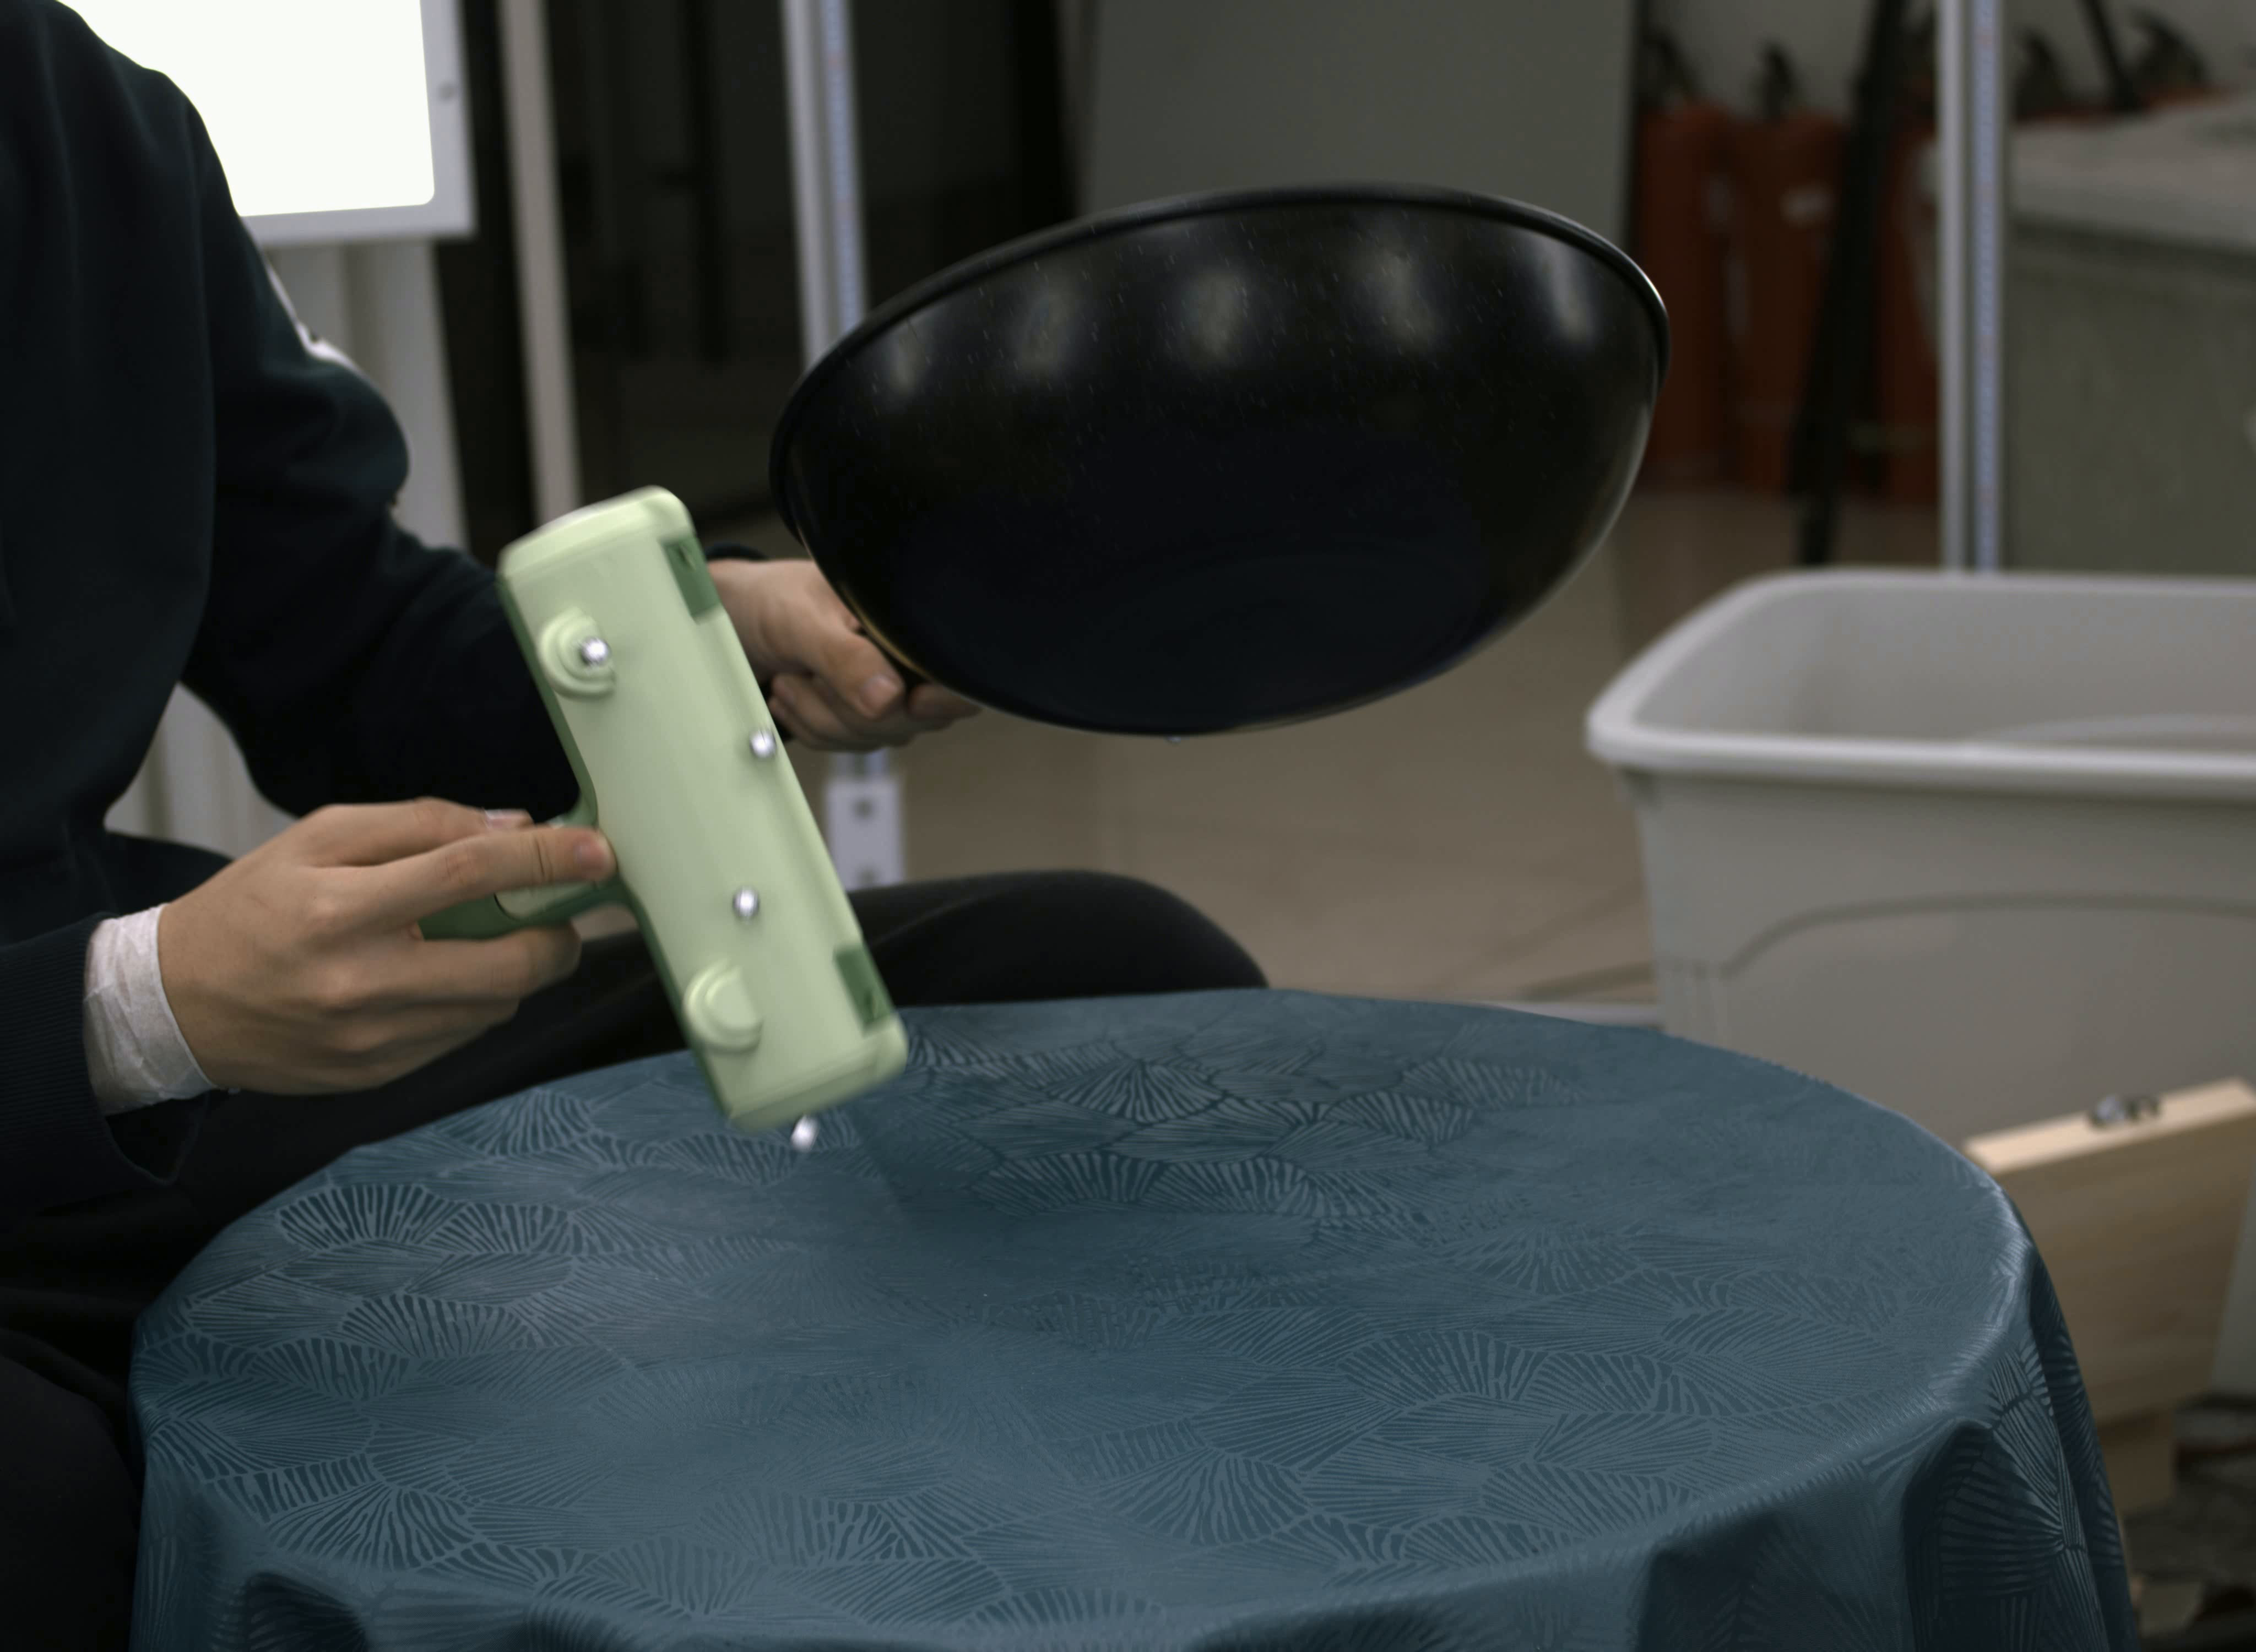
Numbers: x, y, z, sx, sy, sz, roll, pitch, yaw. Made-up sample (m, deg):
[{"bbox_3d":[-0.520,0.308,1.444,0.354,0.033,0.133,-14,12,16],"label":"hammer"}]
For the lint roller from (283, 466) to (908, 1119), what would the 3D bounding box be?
[{"bbox_3d":[-0.185,0.015,1.657,0.182,0.200,0.082,-24,2,9],"label":"lint roller"}]

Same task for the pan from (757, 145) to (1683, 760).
[{"bbox_3d":[-0.009,-0.082,1.862,0.303,0.113,0.481,11,-30,-34],"label":"pan"}]
